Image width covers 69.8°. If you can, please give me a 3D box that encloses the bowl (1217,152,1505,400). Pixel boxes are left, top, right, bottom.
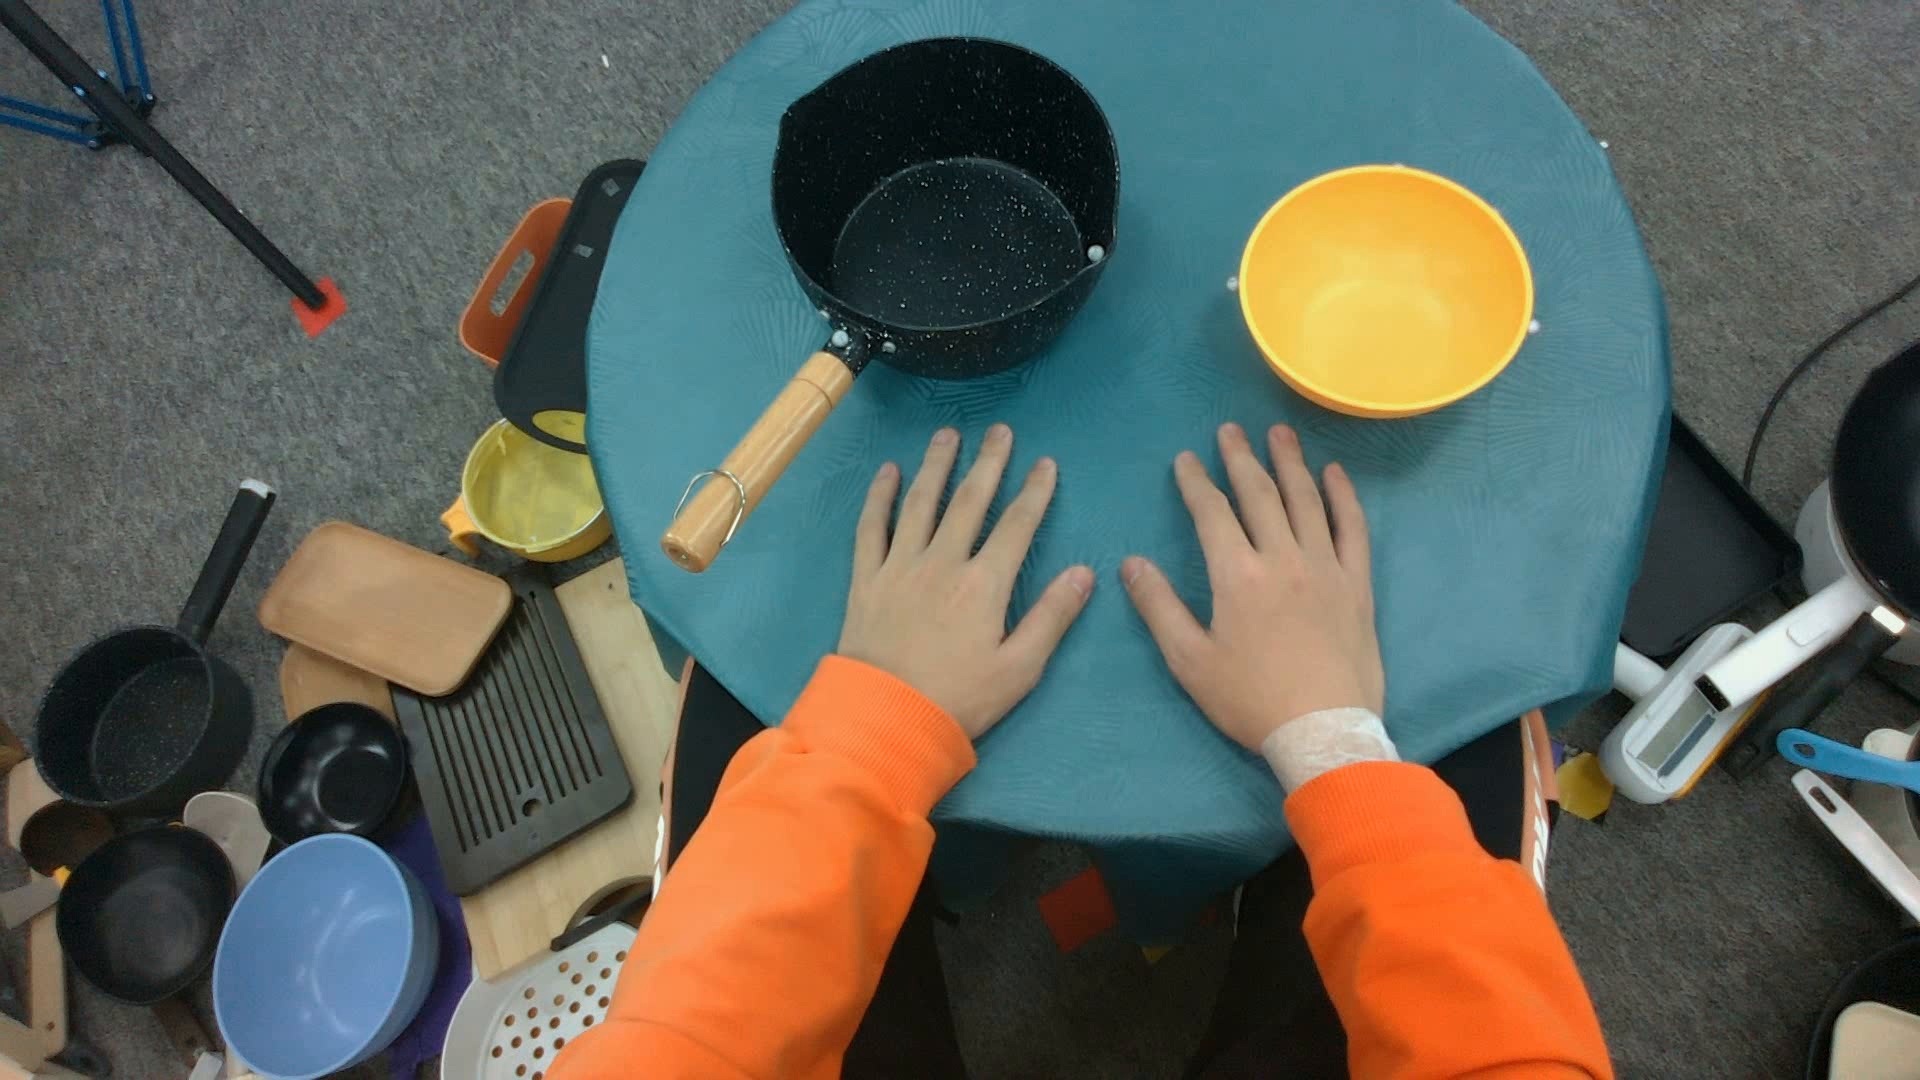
[{"bbox_3d":[0.208,-0.130,0.734,0.145,0.060,0.146,-2,68,5],"label":"bowl"}]

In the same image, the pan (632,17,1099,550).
[{"bbox_3d":[-0.055,-0.122,0.723,0.207,0.108,0.344,25,71,12],"label":"pan"}]
